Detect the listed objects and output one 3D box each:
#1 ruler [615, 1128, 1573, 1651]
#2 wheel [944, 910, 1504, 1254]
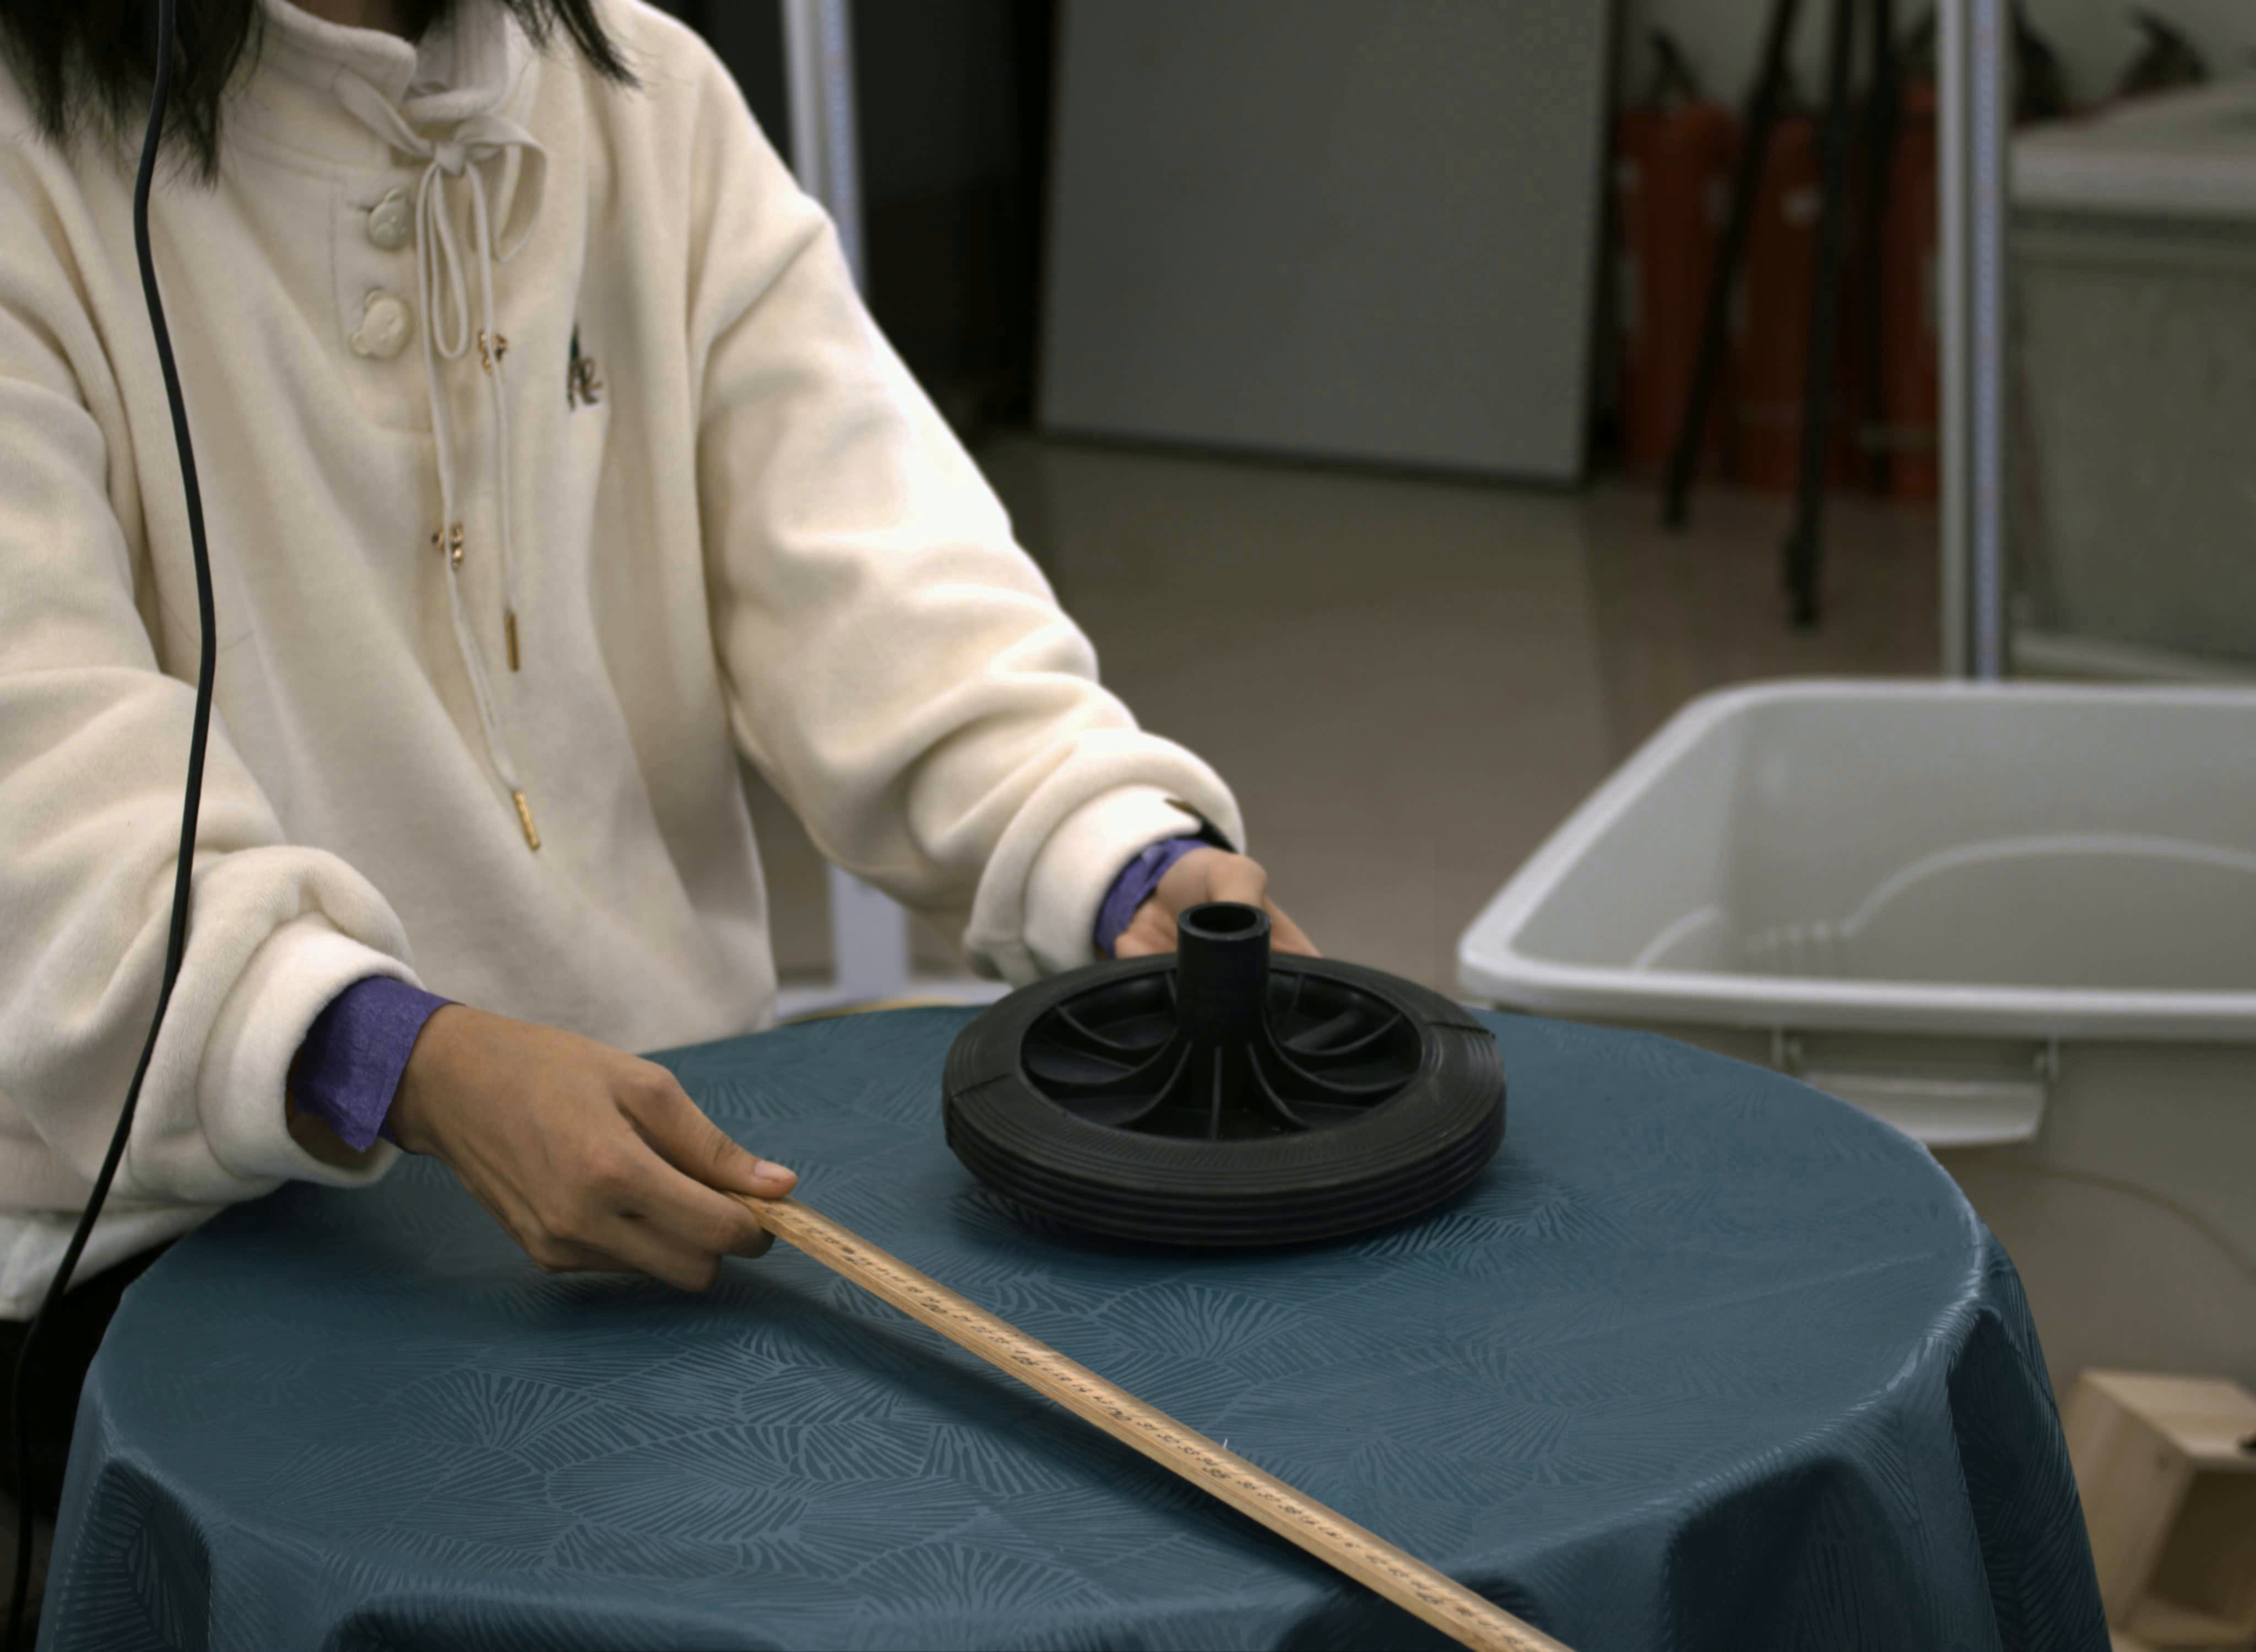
[{"bbox_3d":[-0.025,0.157,1.563,0.026,0.006,0.506,6,9,-34],"label":"ruler"},{"bbox_3d":[0.032,0.070,1.767,0.187,0.080,0.188,8,24,21],"label":"wheel"}]
